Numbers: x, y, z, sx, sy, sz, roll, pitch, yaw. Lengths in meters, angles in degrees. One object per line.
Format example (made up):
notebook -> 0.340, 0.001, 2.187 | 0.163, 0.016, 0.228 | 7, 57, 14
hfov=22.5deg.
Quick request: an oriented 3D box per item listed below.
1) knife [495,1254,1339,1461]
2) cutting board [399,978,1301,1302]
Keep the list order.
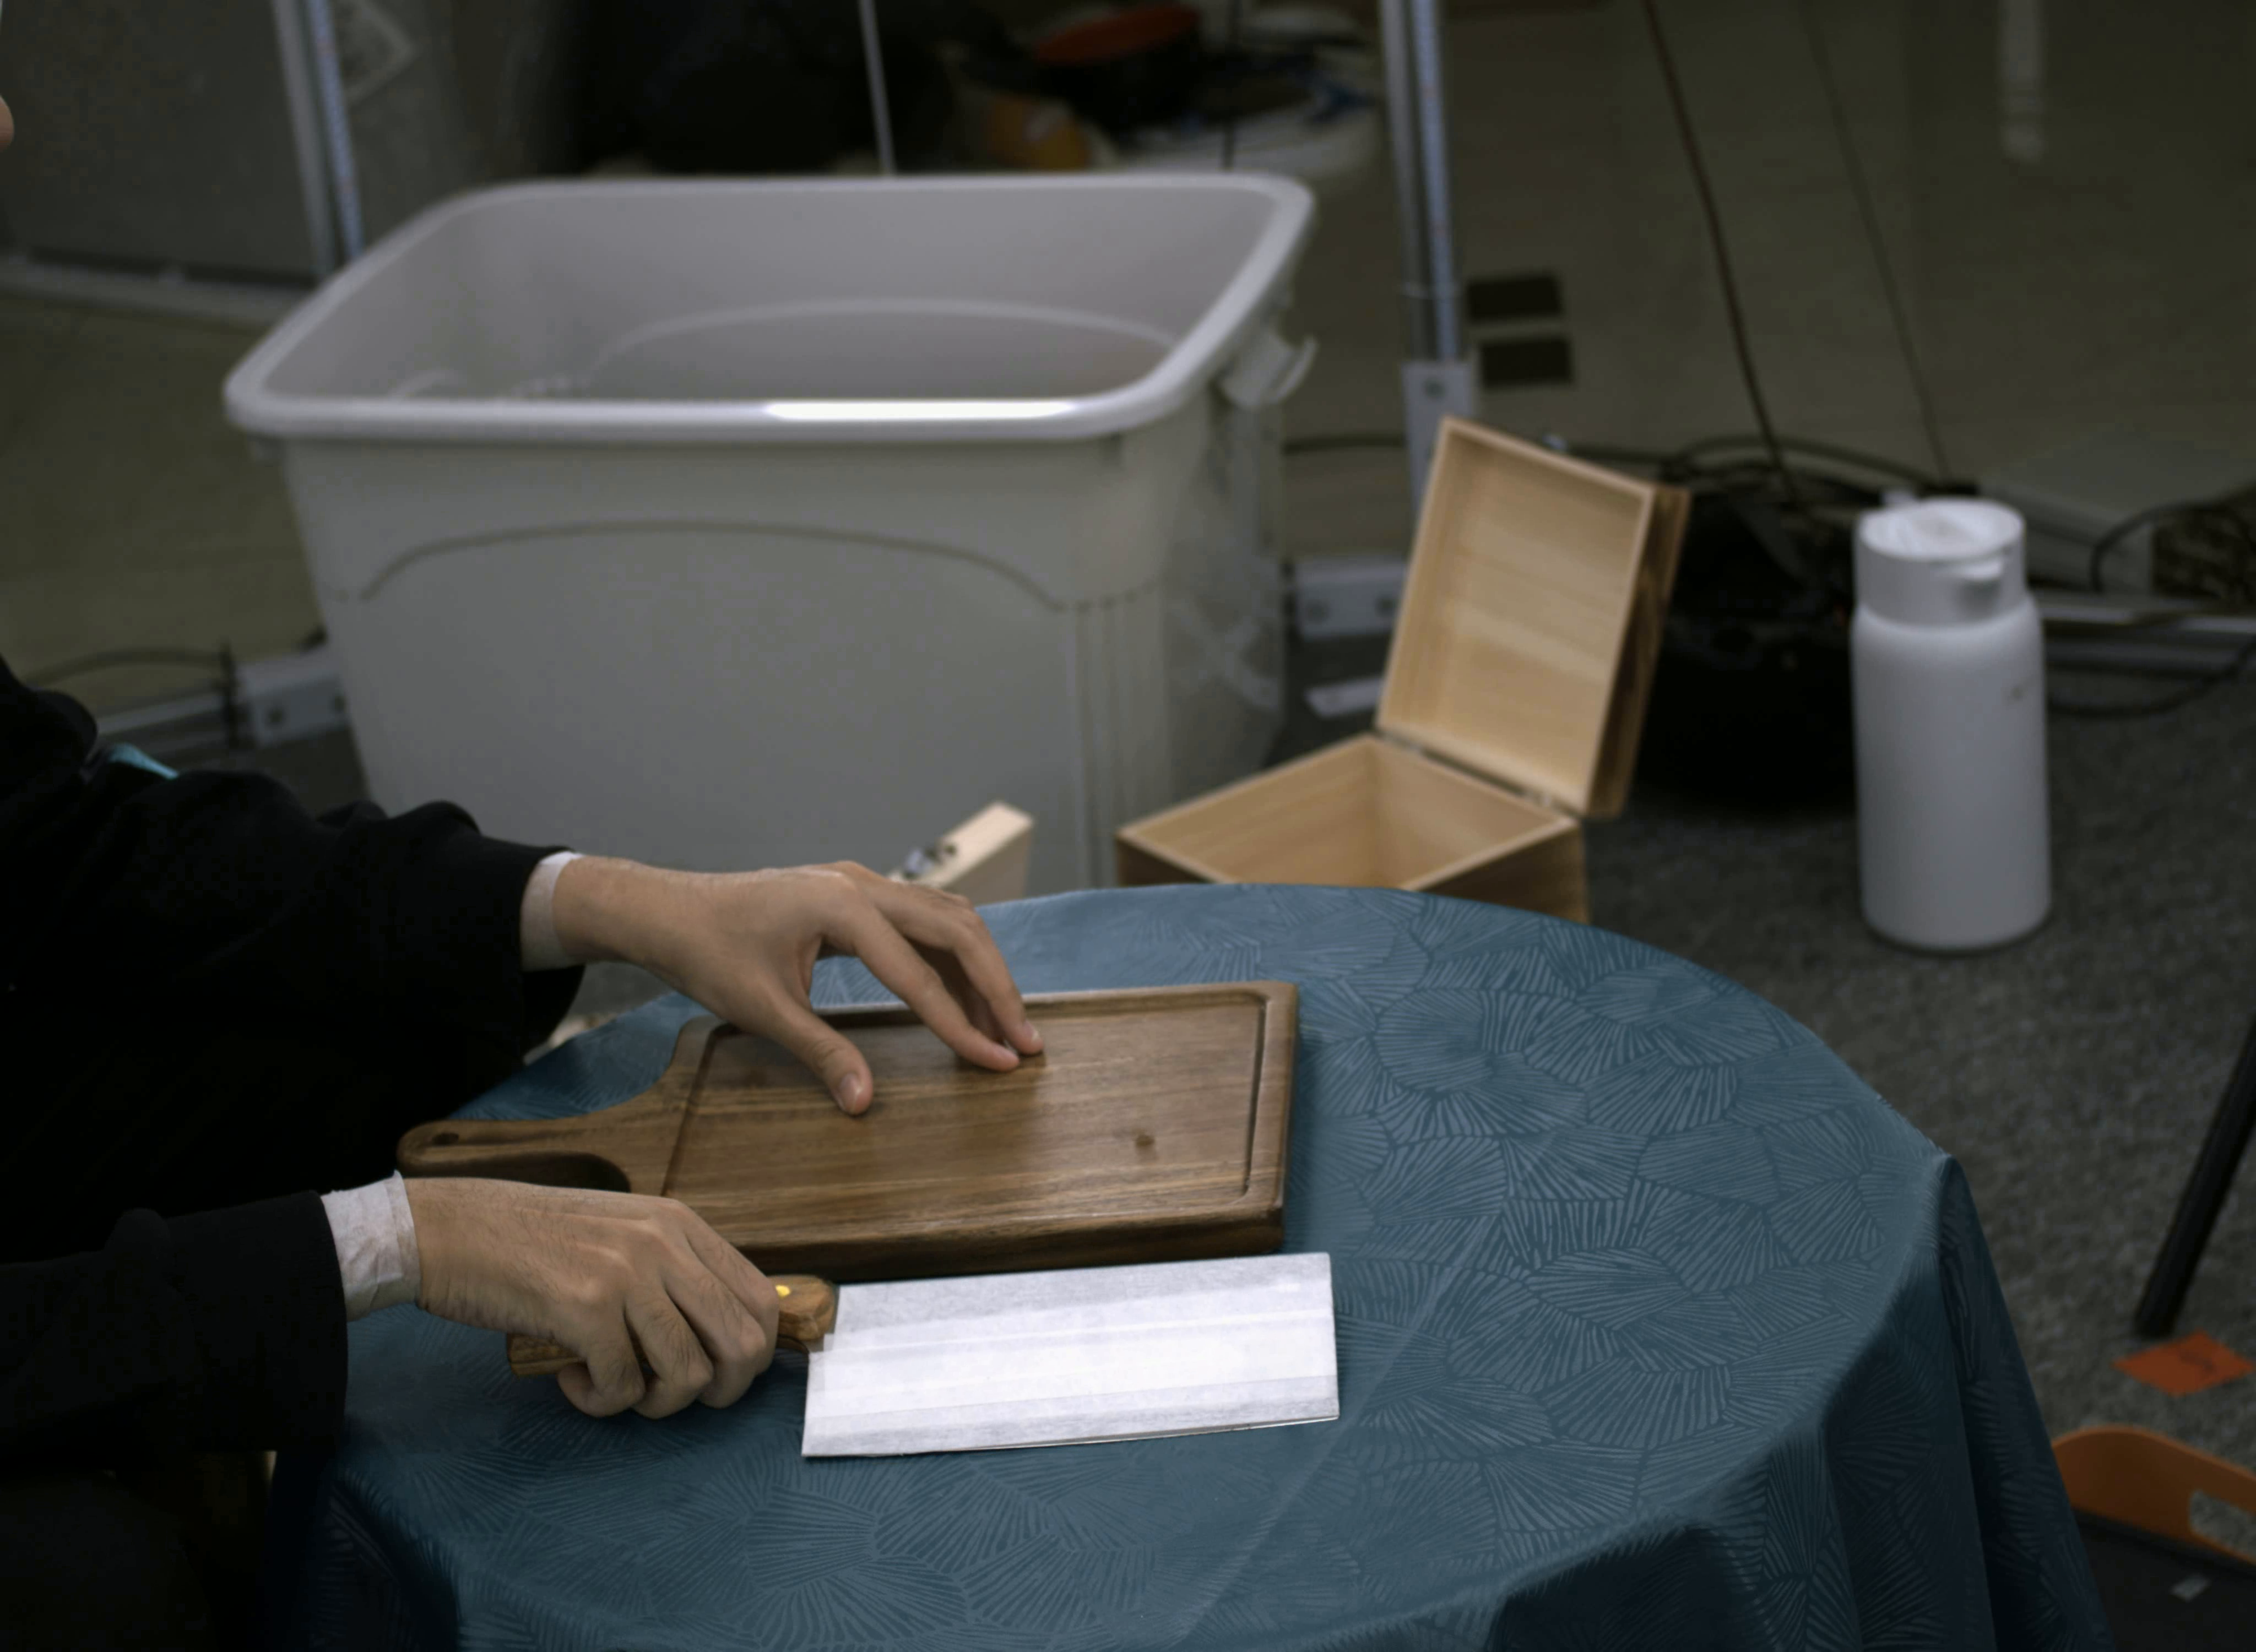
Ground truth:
knife -> -0.078, 0.192, 2.027 | 0.305, 0.021, 0.091 | -4, 37, 3
cutting board -> -0.109, 0.123, 2.192 | 0.351, 0.023, 0.198 | -6, 24, 7
